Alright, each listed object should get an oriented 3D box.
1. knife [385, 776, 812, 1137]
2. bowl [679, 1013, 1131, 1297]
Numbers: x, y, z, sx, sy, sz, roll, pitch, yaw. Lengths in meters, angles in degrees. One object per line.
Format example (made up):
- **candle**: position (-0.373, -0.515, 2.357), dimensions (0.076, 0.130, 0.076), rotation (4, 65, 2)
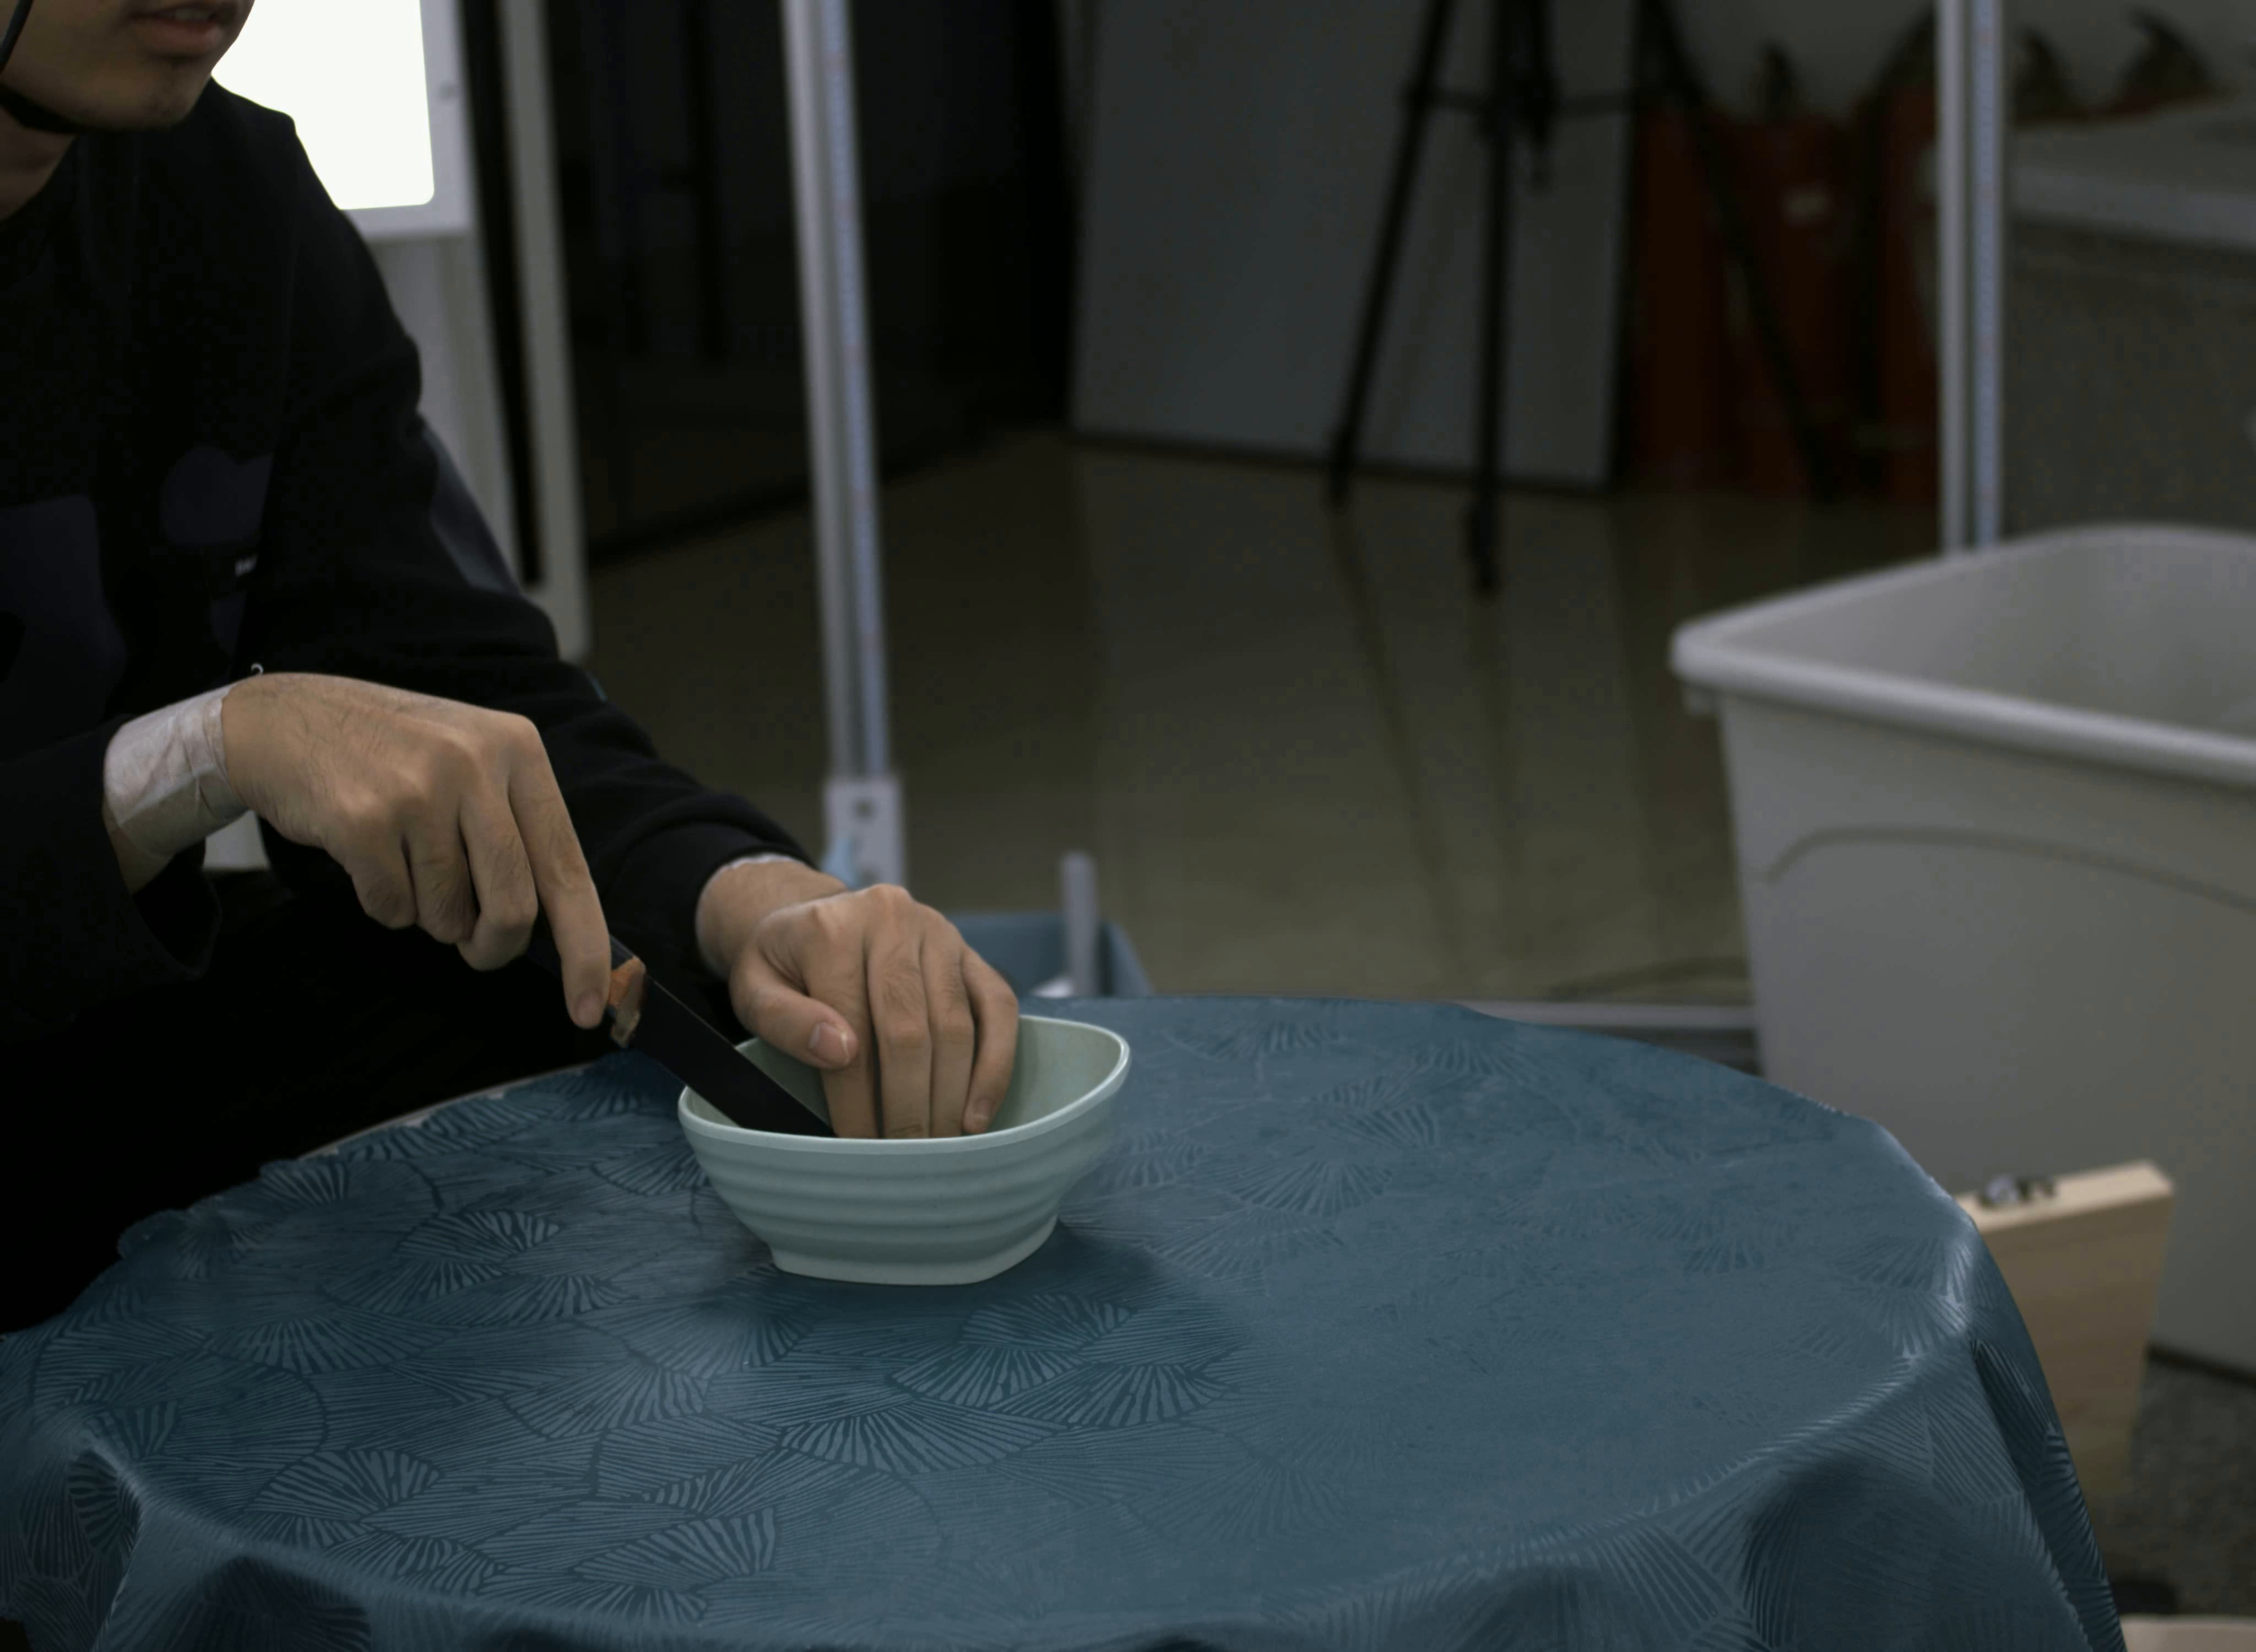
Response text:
- **knife**: position (-0.150, 0.064, 1.716), dimensions (0.225, 0.026, 0.017), rotation (41, 9, 2)
- **bowl**: position (-0.069, 0.108, 1.728), dimensions (0.149, 0.059, 0.152), rotation (-4, 15, 0)
